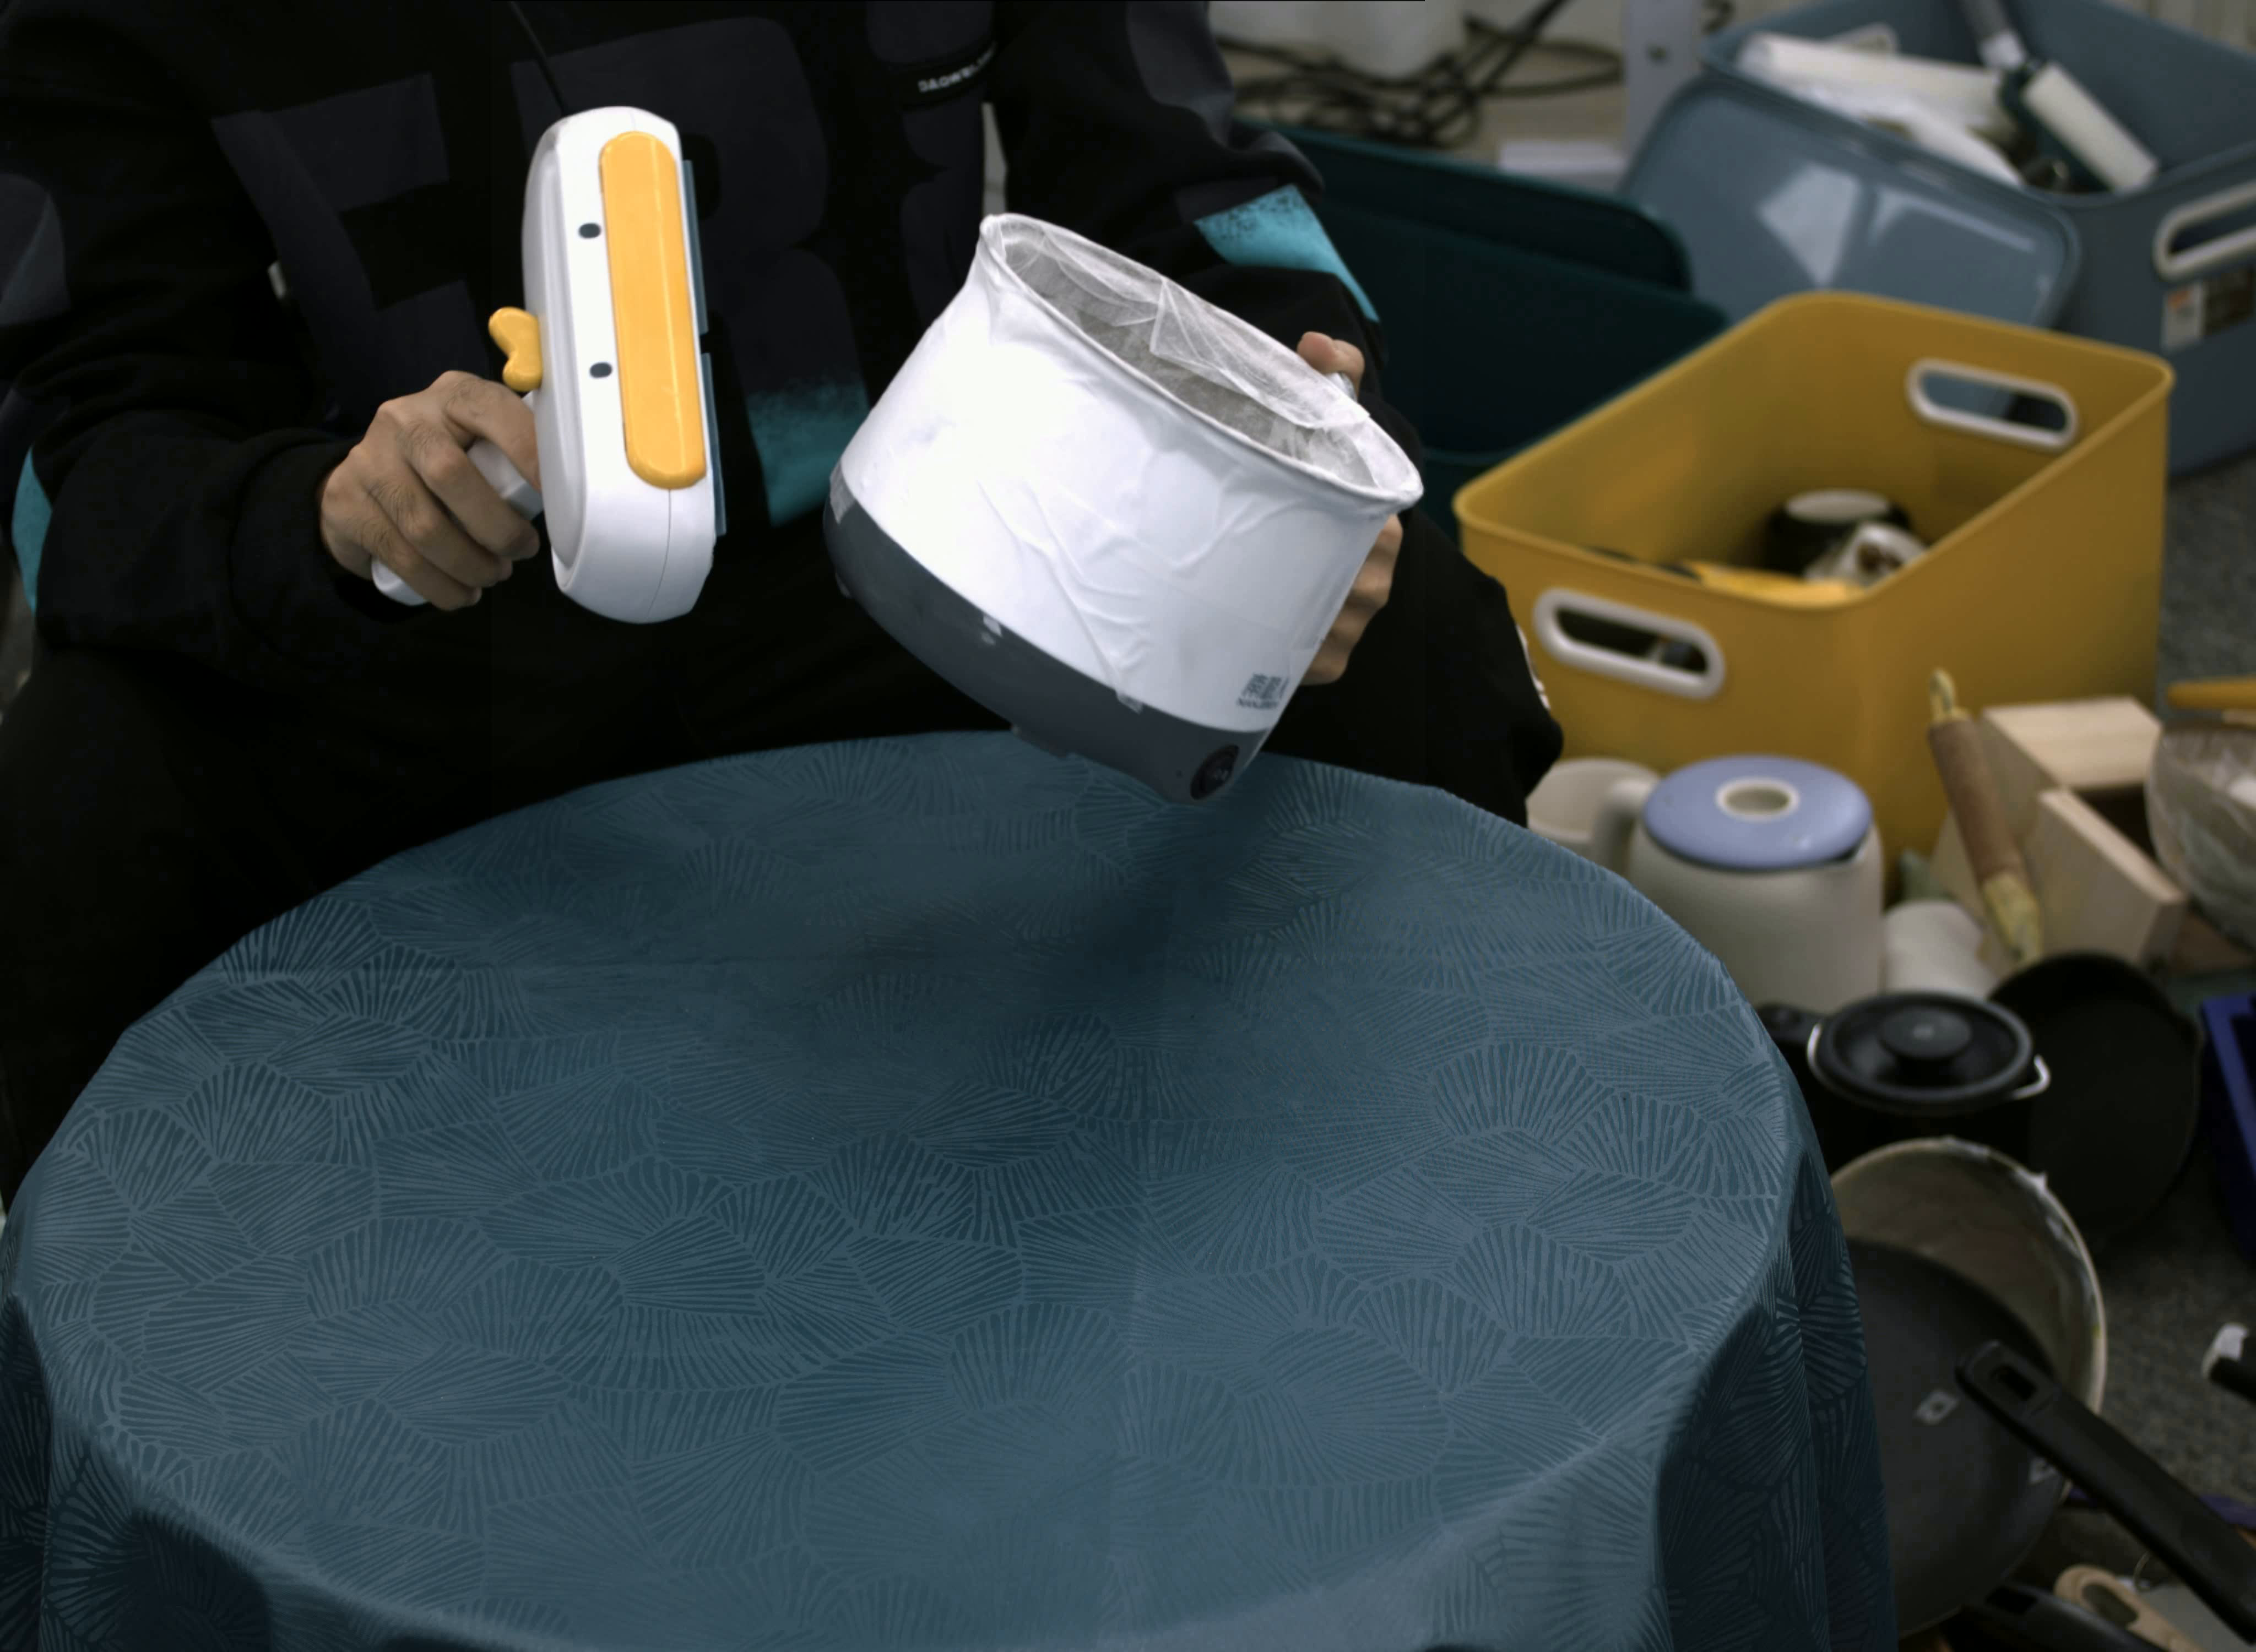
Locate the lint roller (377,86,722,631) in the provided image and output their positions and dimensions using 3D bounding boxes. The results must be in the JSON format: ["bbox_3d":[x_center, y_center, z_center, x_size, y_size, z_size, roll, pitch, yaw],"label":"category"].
[{"bbox_3d":[-0.206,-0.134,1.966,0.074,0.189,0.196,4,55,-28],"label":"lint roller"}]

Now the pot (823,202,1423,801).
[{"bbox_3d":[0.007,-0.111,1.963,0.179,0.135,0.234,41,18,24],"label":"pot"}]
